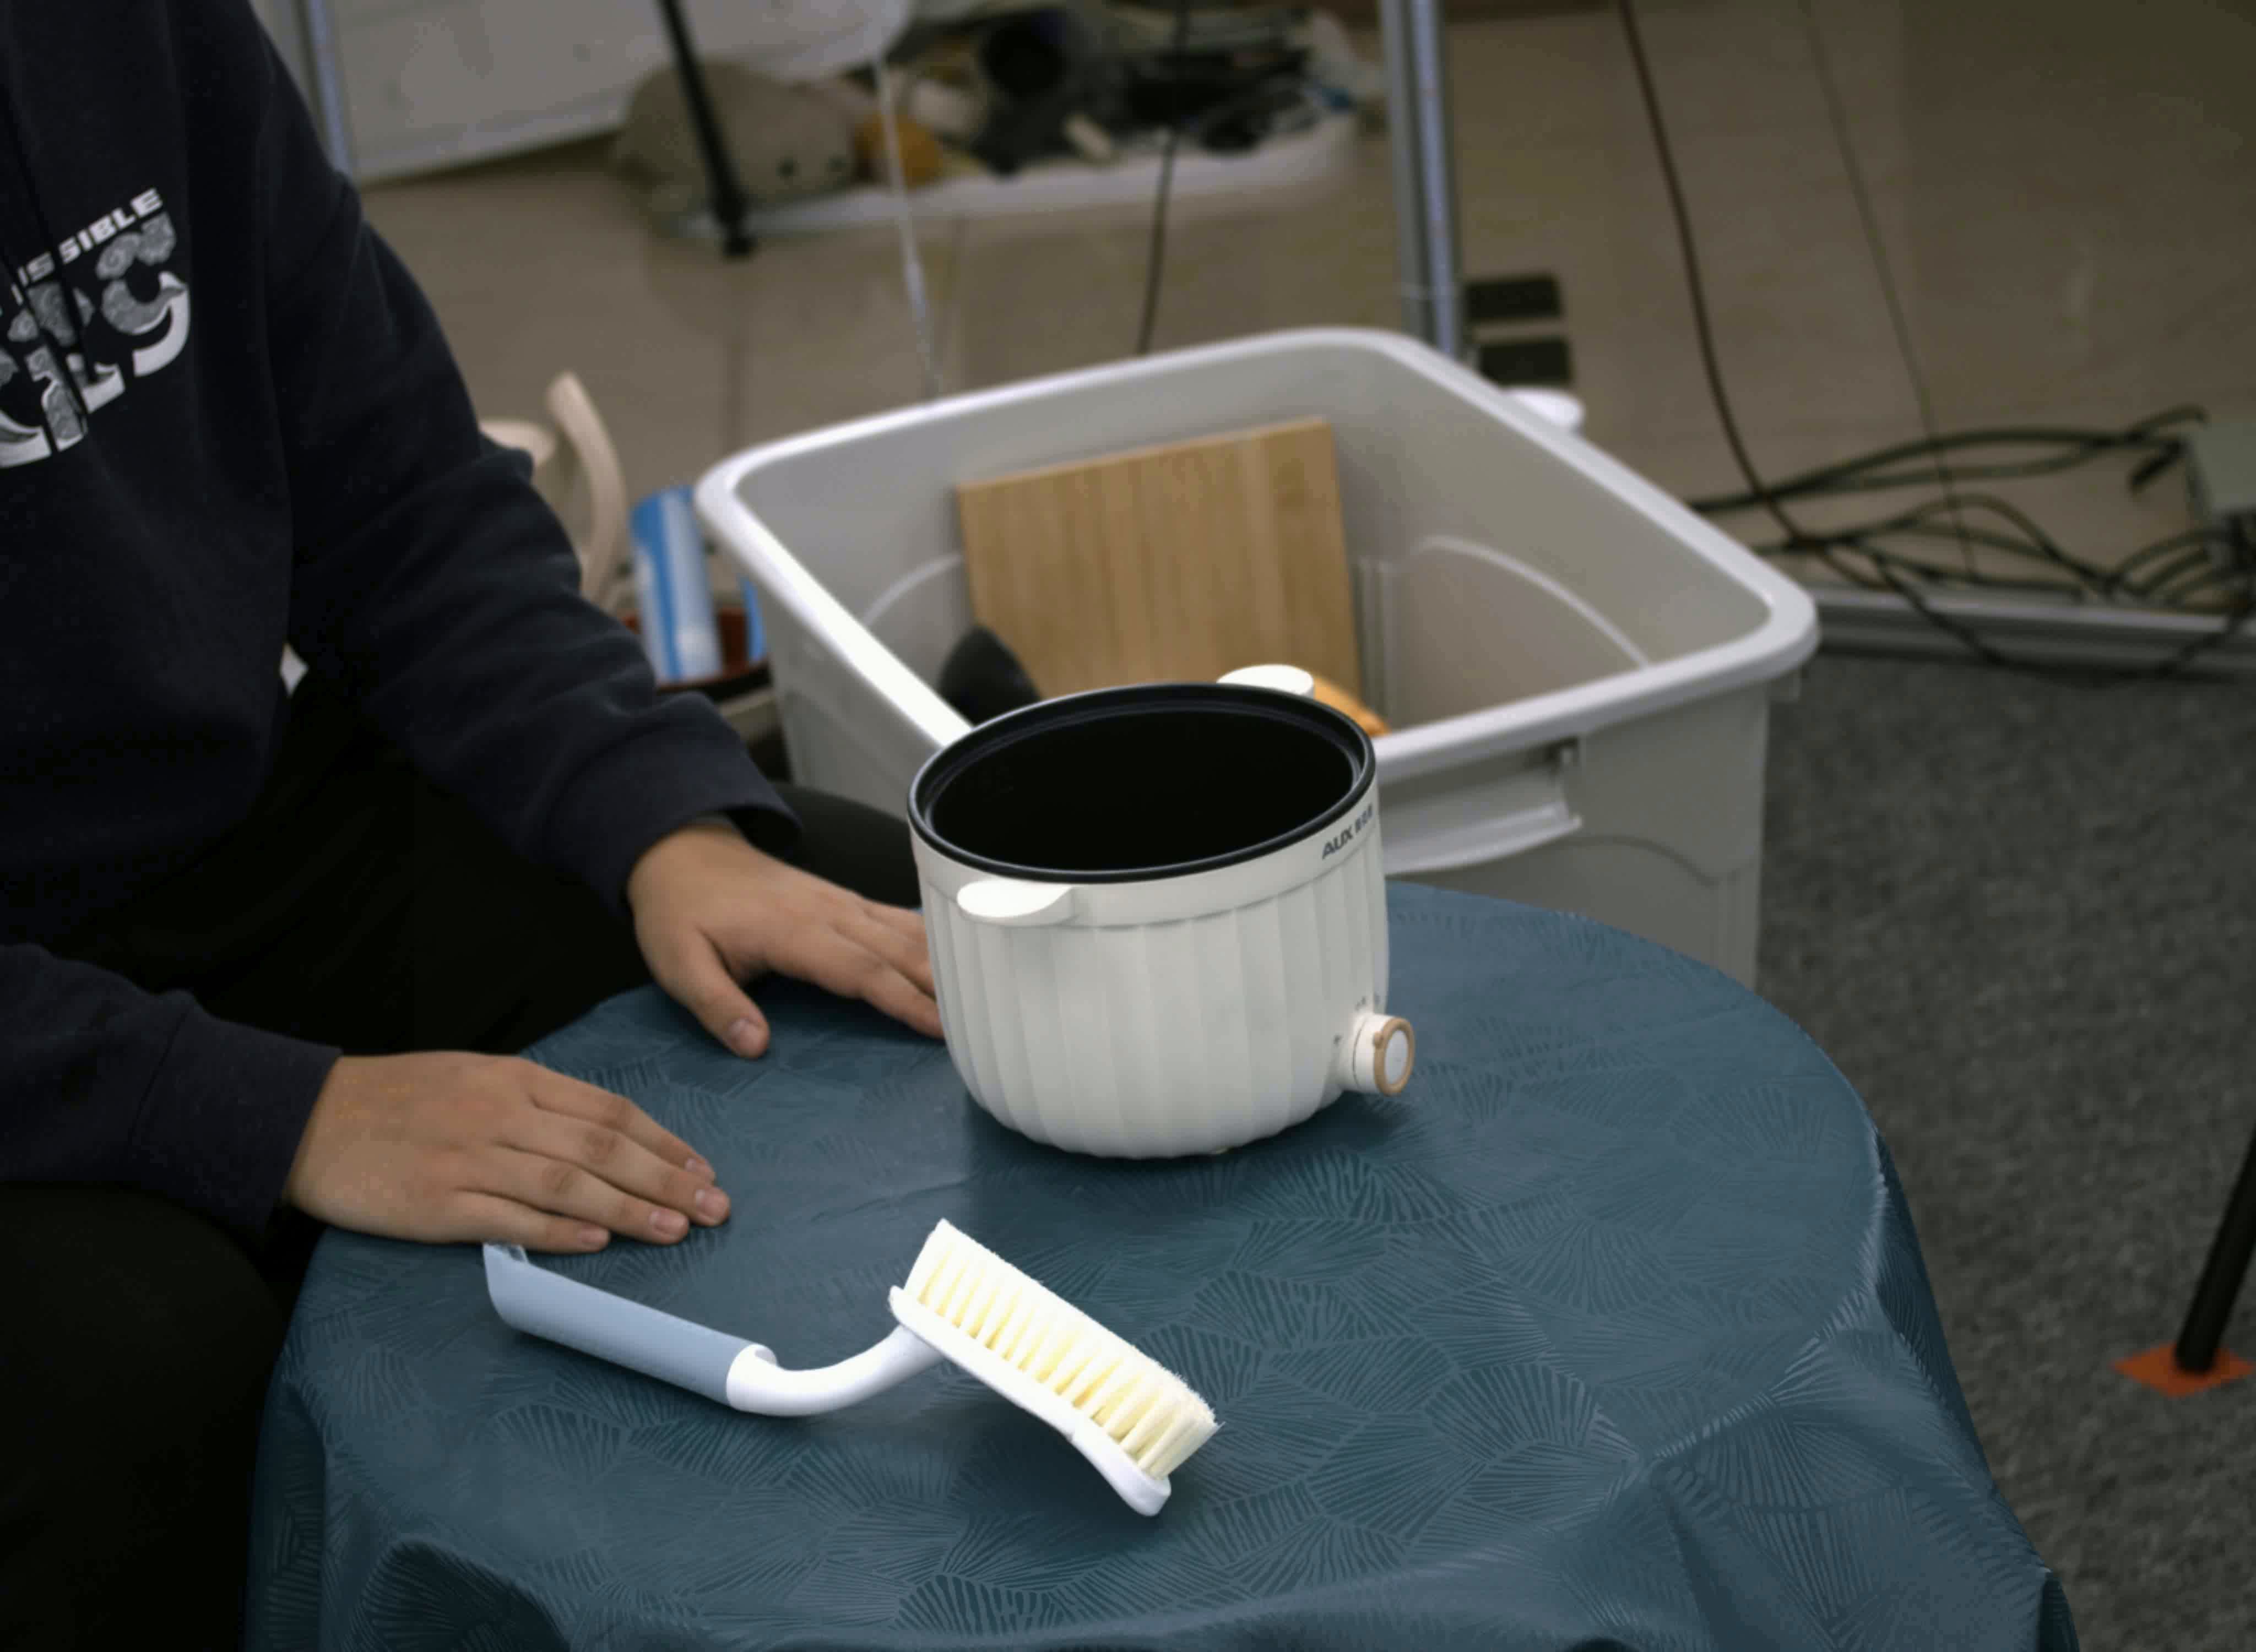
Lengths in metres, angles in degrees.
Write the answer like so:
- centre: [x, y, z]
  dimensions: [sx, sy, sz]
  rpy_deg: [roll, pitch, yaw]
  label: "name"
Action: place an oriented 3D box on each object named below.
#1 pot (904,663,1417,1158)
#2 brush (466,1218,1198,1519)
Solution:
- centre: [0.017, 0.040, 2.191]
  dimensions: [0.190, 0.145, 0.237]
  rpy_deg: [5, 28, 30]
  label: "pot"
- centre: [-0.107, 0.165, 2.017]
  dimensions: [0.323, 0.084, 0.083]
  rpy_deg: [15, 38, 36]
  label: "brush"
